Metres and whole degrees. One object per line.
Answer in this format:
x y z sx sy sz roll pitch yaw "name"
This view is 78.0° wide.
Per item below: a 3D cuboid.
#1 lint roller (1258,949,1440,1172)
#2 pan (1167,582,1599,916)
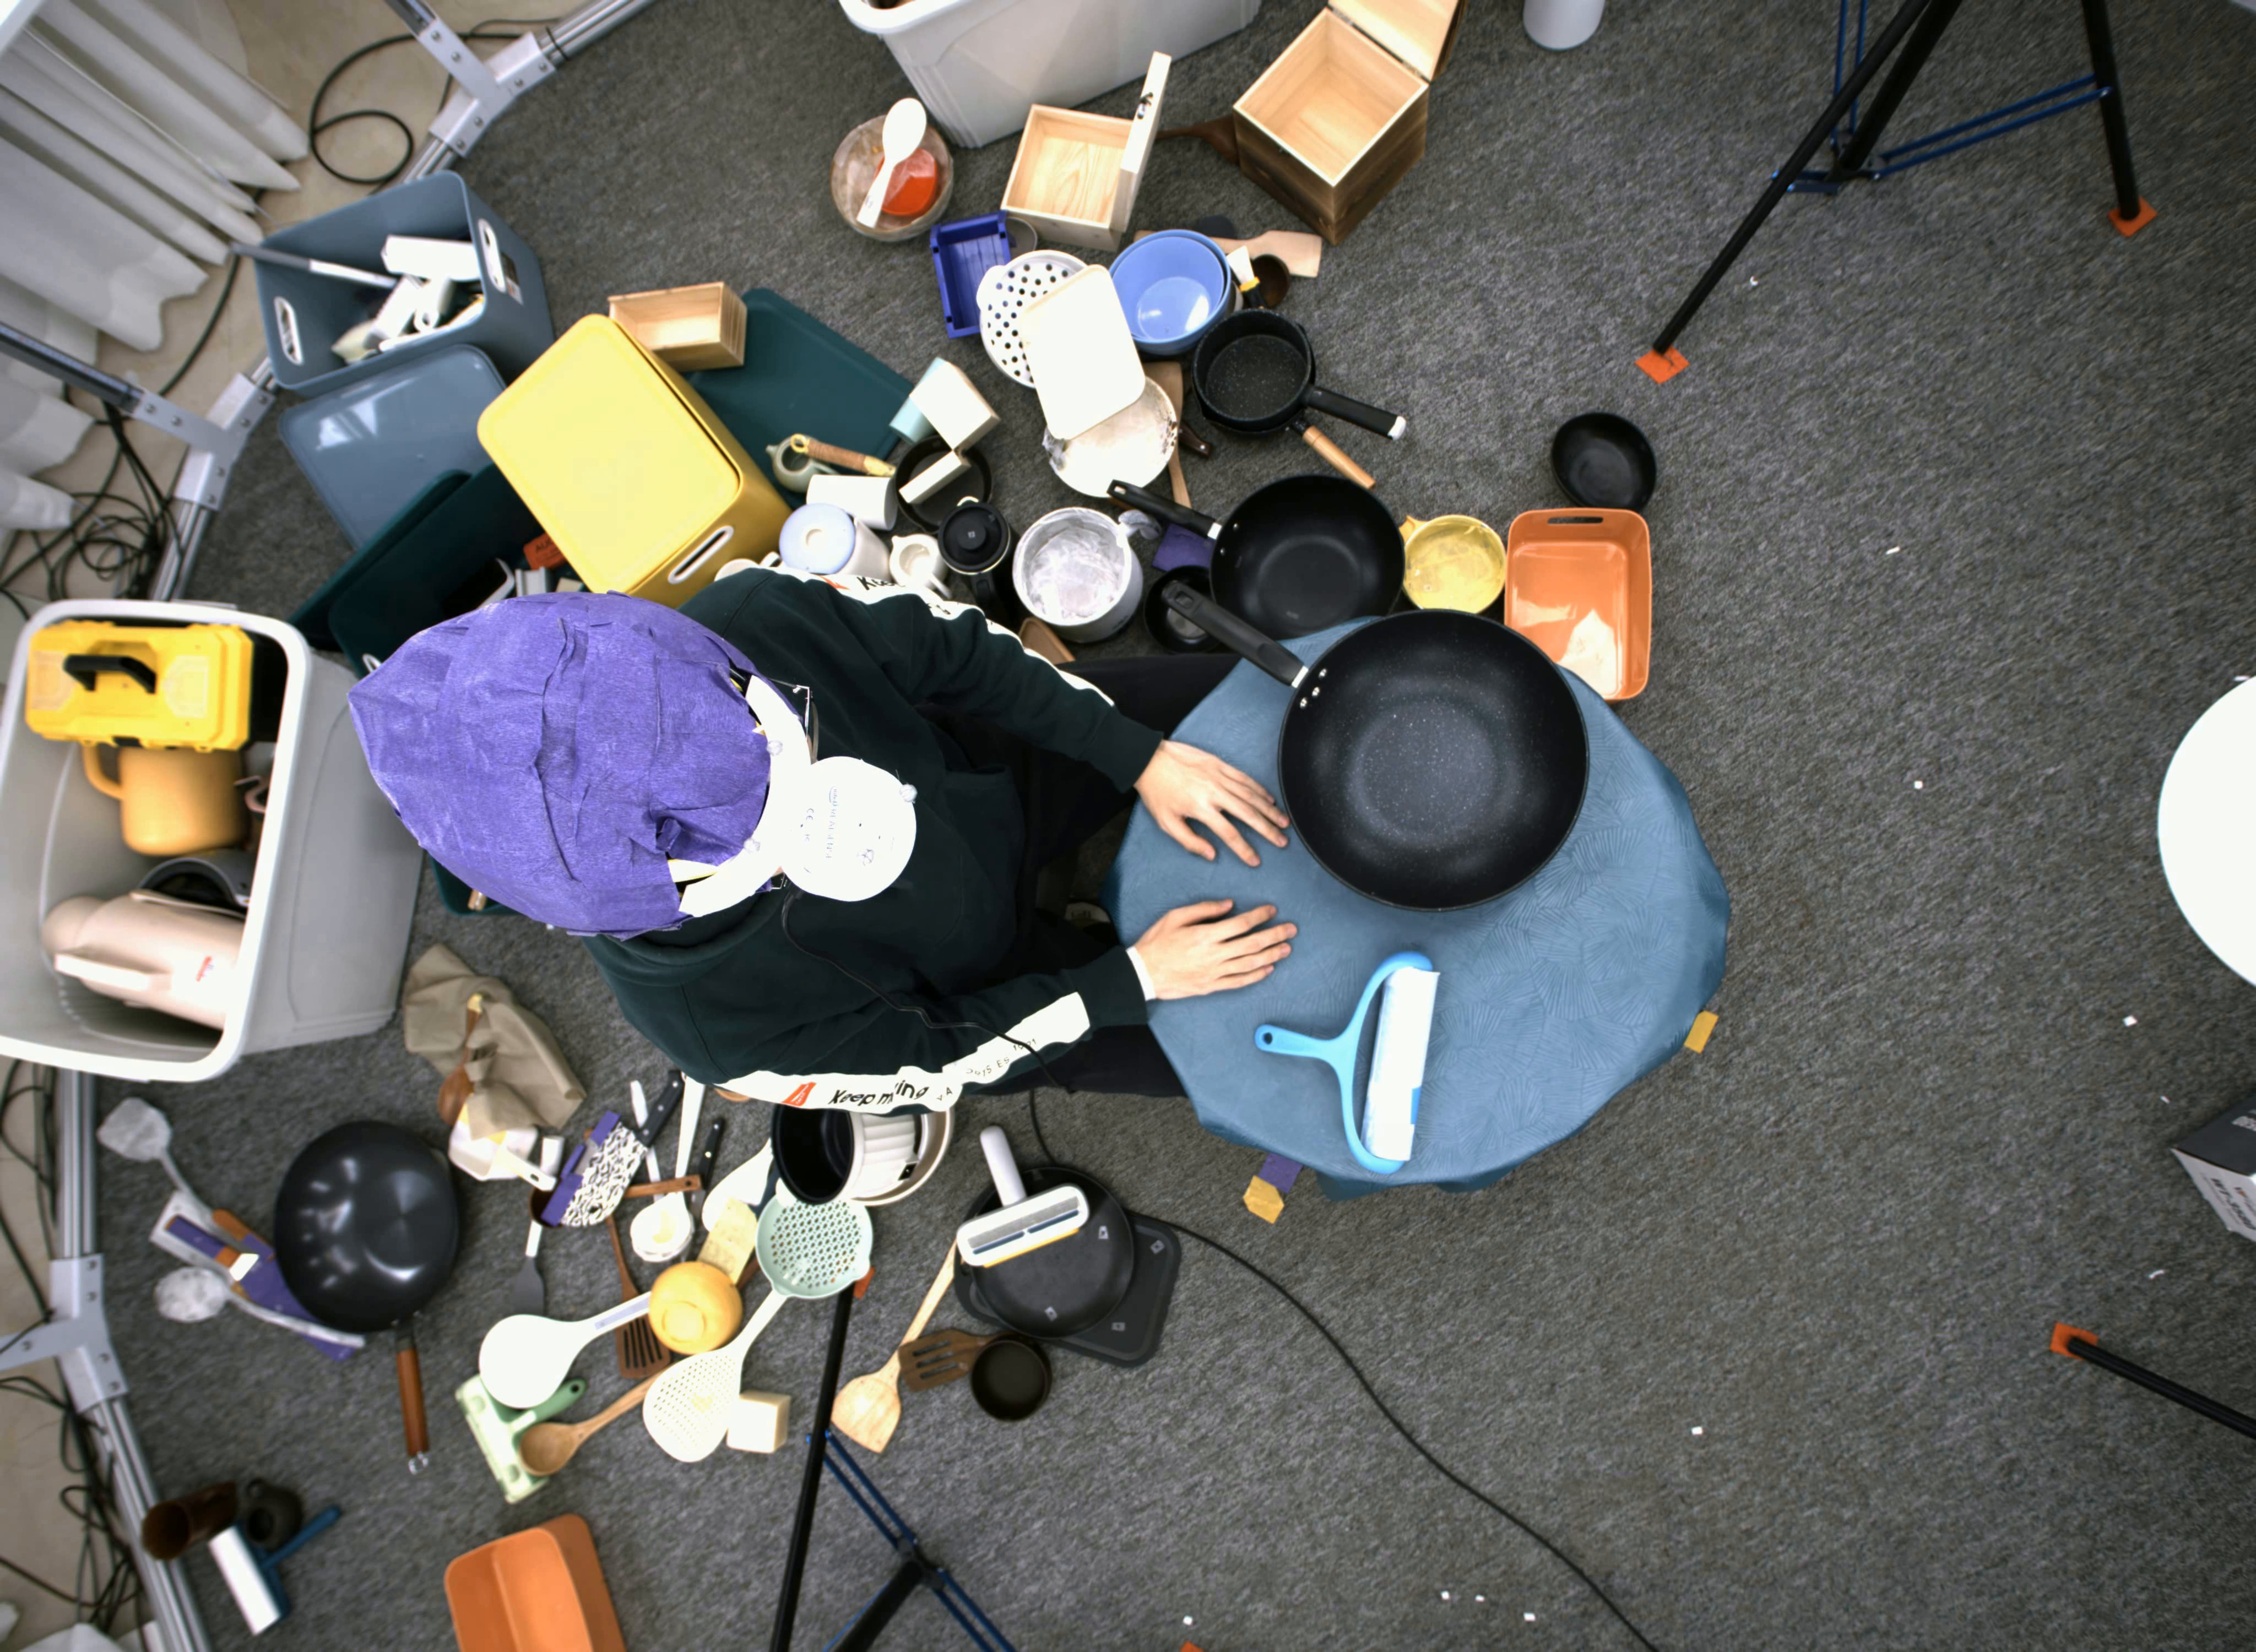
0.222 0.234 1.427 0.181 0.068 0.228 5 90 9 "lint roller"
0.247 -0.108 1.415 0.476 0.112 0.310 33 91 10 "pan"
